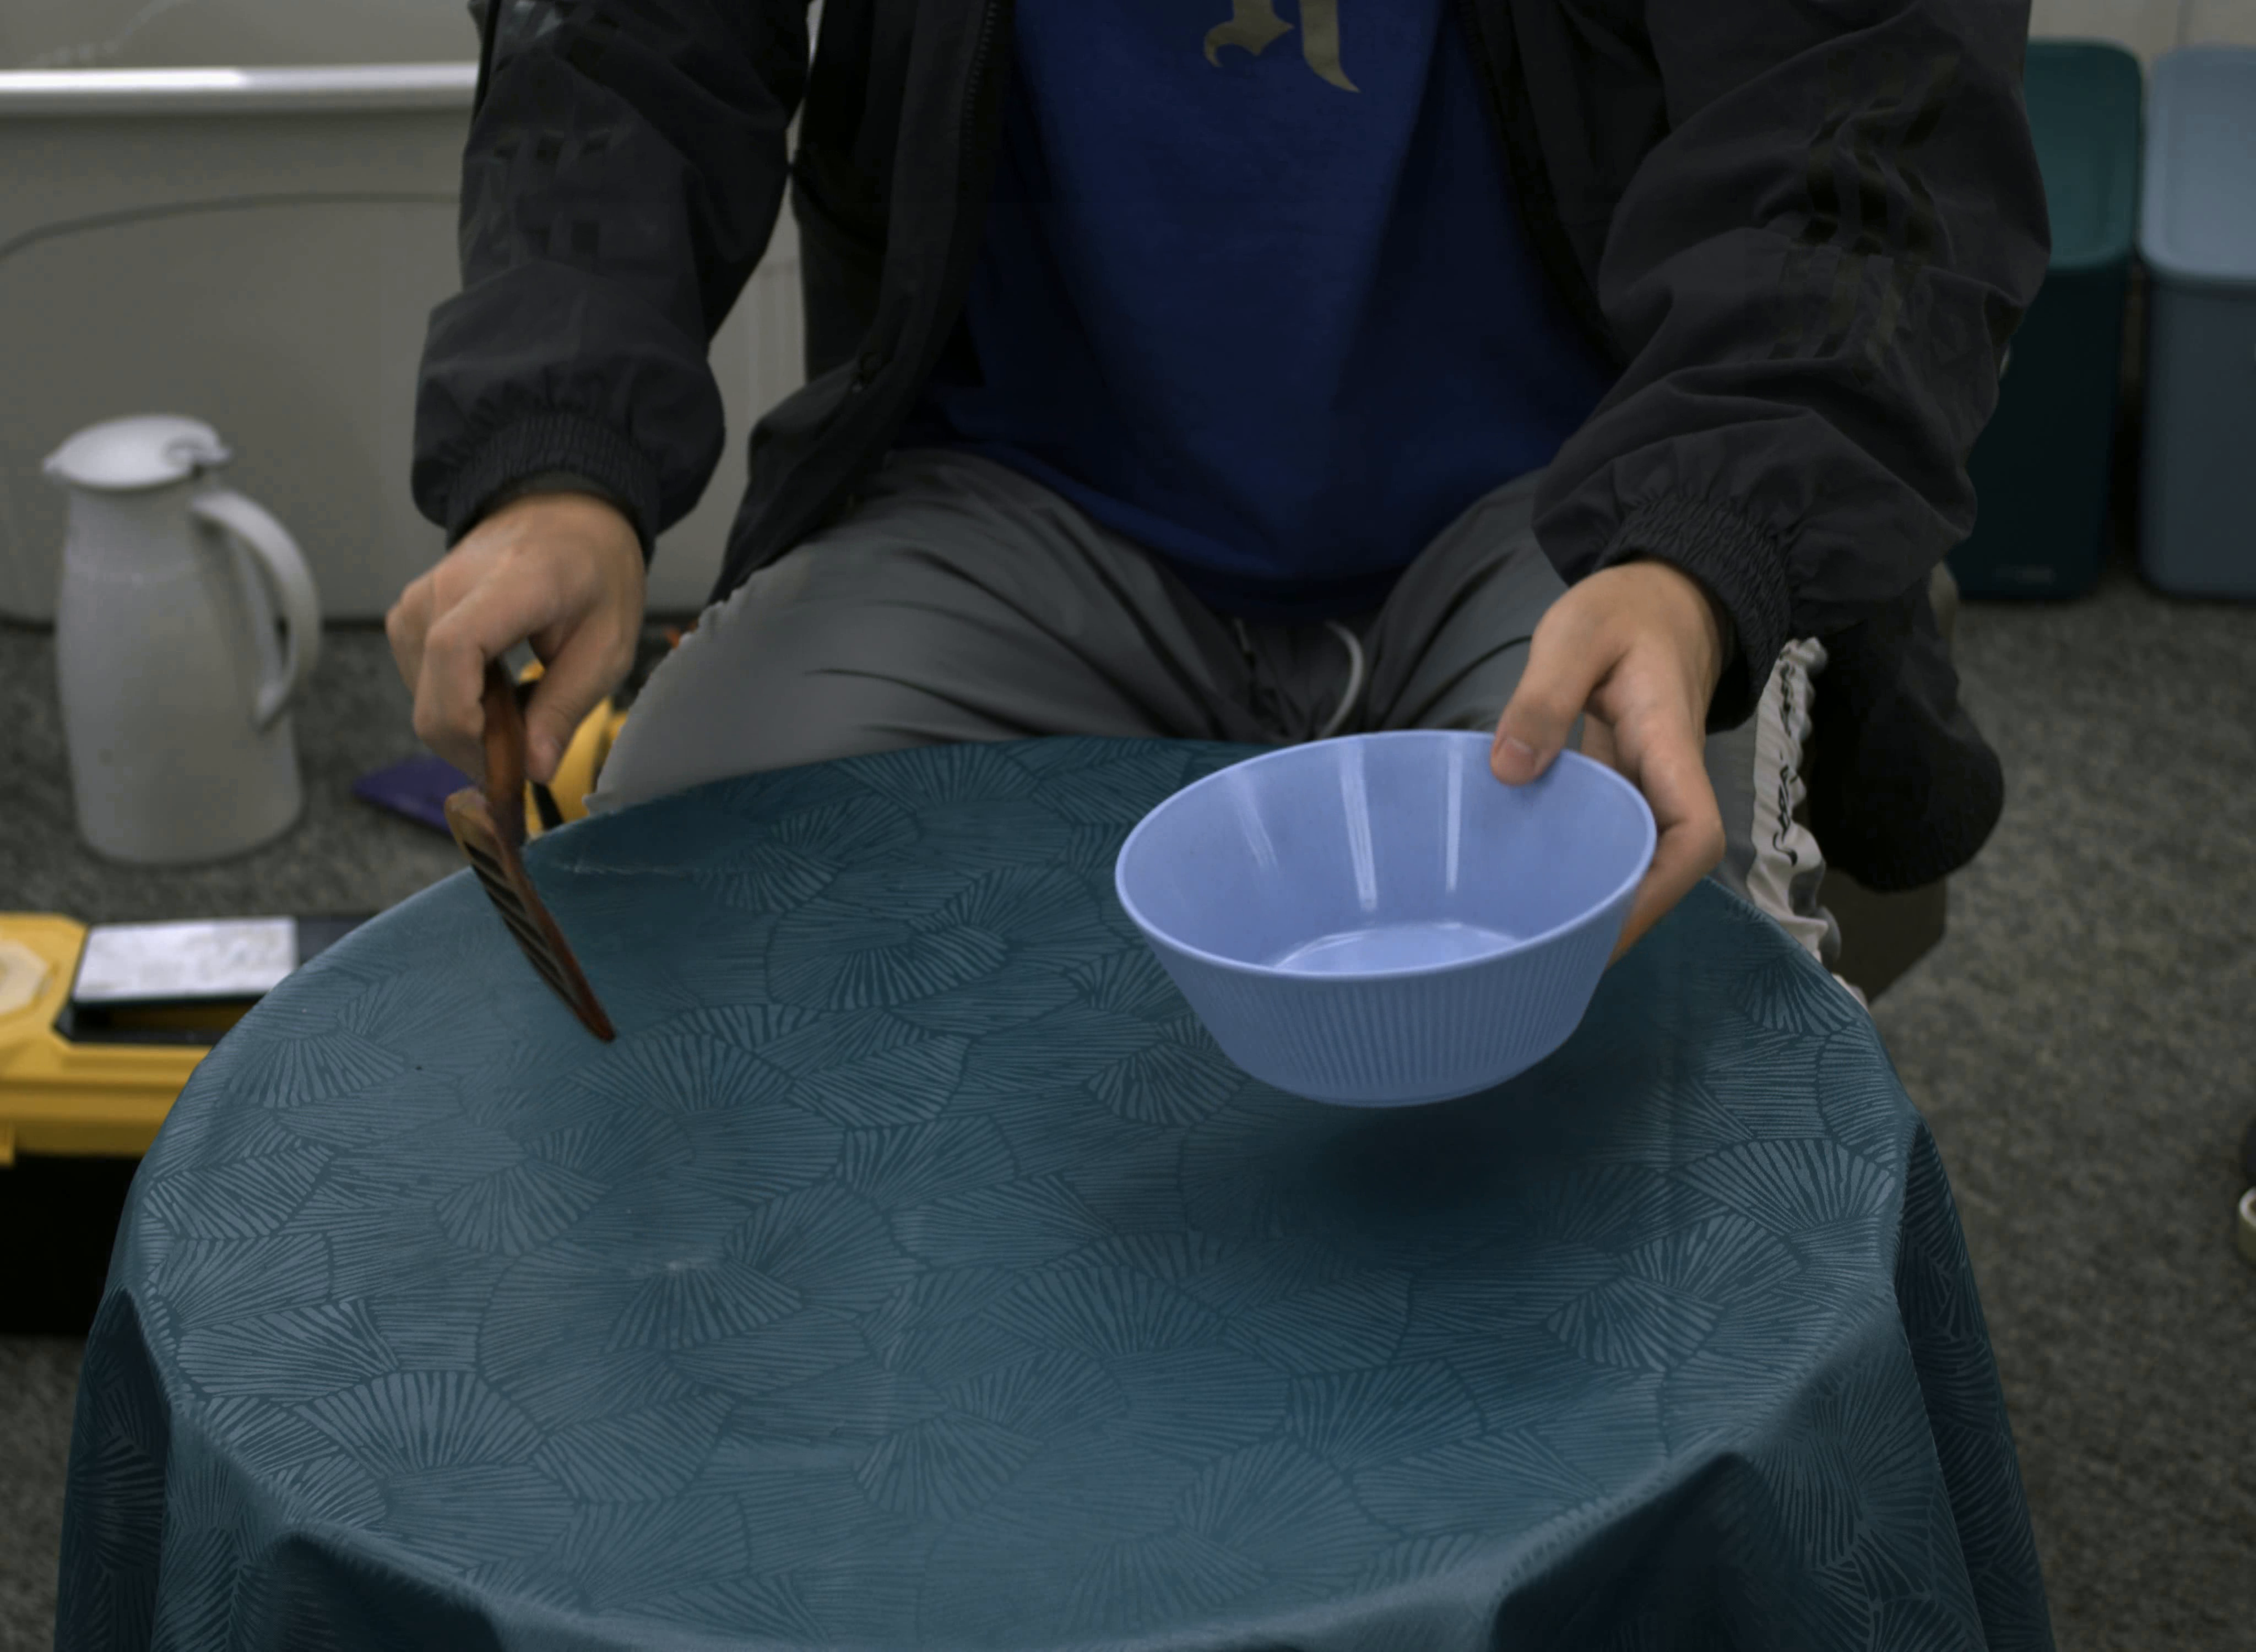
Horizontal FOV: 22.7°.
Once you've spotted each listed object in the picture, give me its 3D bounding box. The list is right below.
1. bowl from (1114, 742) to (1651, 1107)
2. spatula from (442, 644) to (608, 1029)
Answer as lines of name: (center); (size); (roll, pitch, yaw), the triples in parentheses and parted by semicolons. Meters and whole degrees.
bowl: (0.085, 0.037, 1.831); (0.175, 0.069, 0.178); (-4, 24, 2)
spatula: (-0.213, -0.011, 1.921); (0.024, 0.085, 0.389); (-28, 16, -1)
